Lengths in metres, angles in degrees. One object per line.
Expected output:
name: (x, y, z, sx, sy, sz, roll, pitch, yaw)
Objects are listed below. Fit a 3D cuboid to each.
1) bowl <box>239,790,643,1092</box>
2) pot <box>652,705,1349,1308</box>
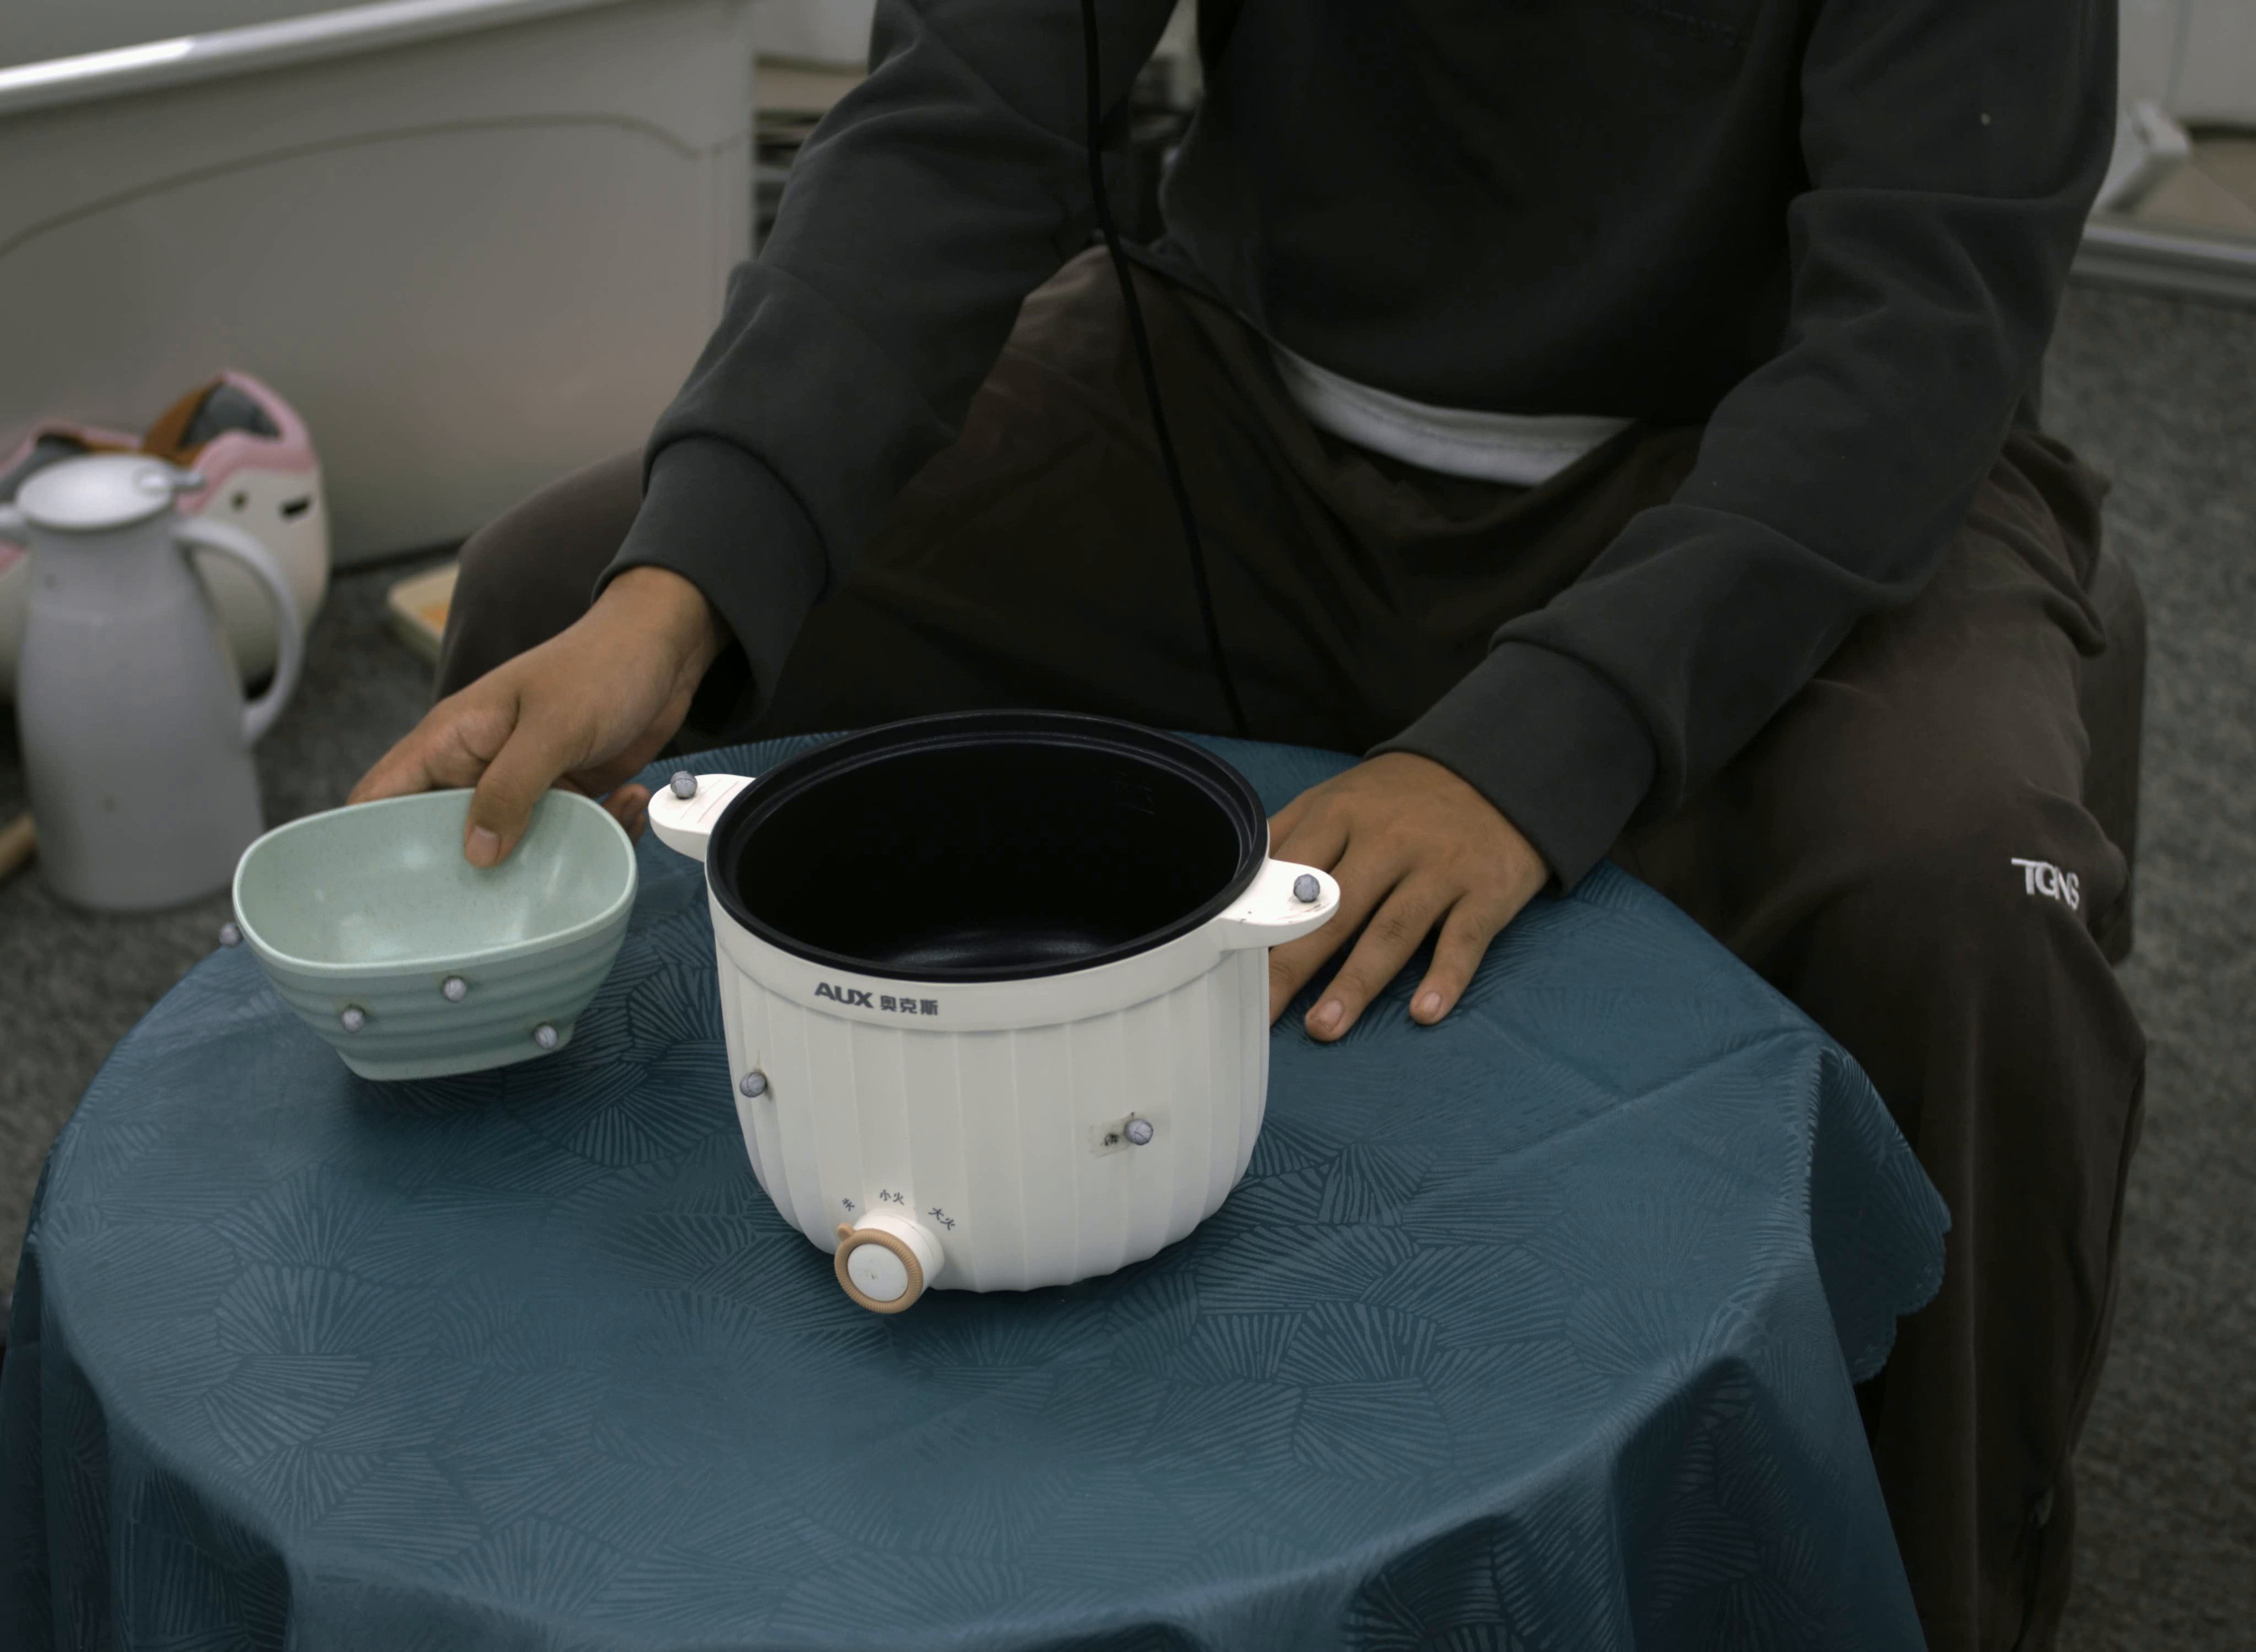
bowl: (-0.235, 0.045, 1.949, 0.151, 0.058, 0.153, -3, 26, 2)
pot: (-0.041, 0.062, 1.832, 0.238, 0.141, 0.193, 6, 25, 20)
